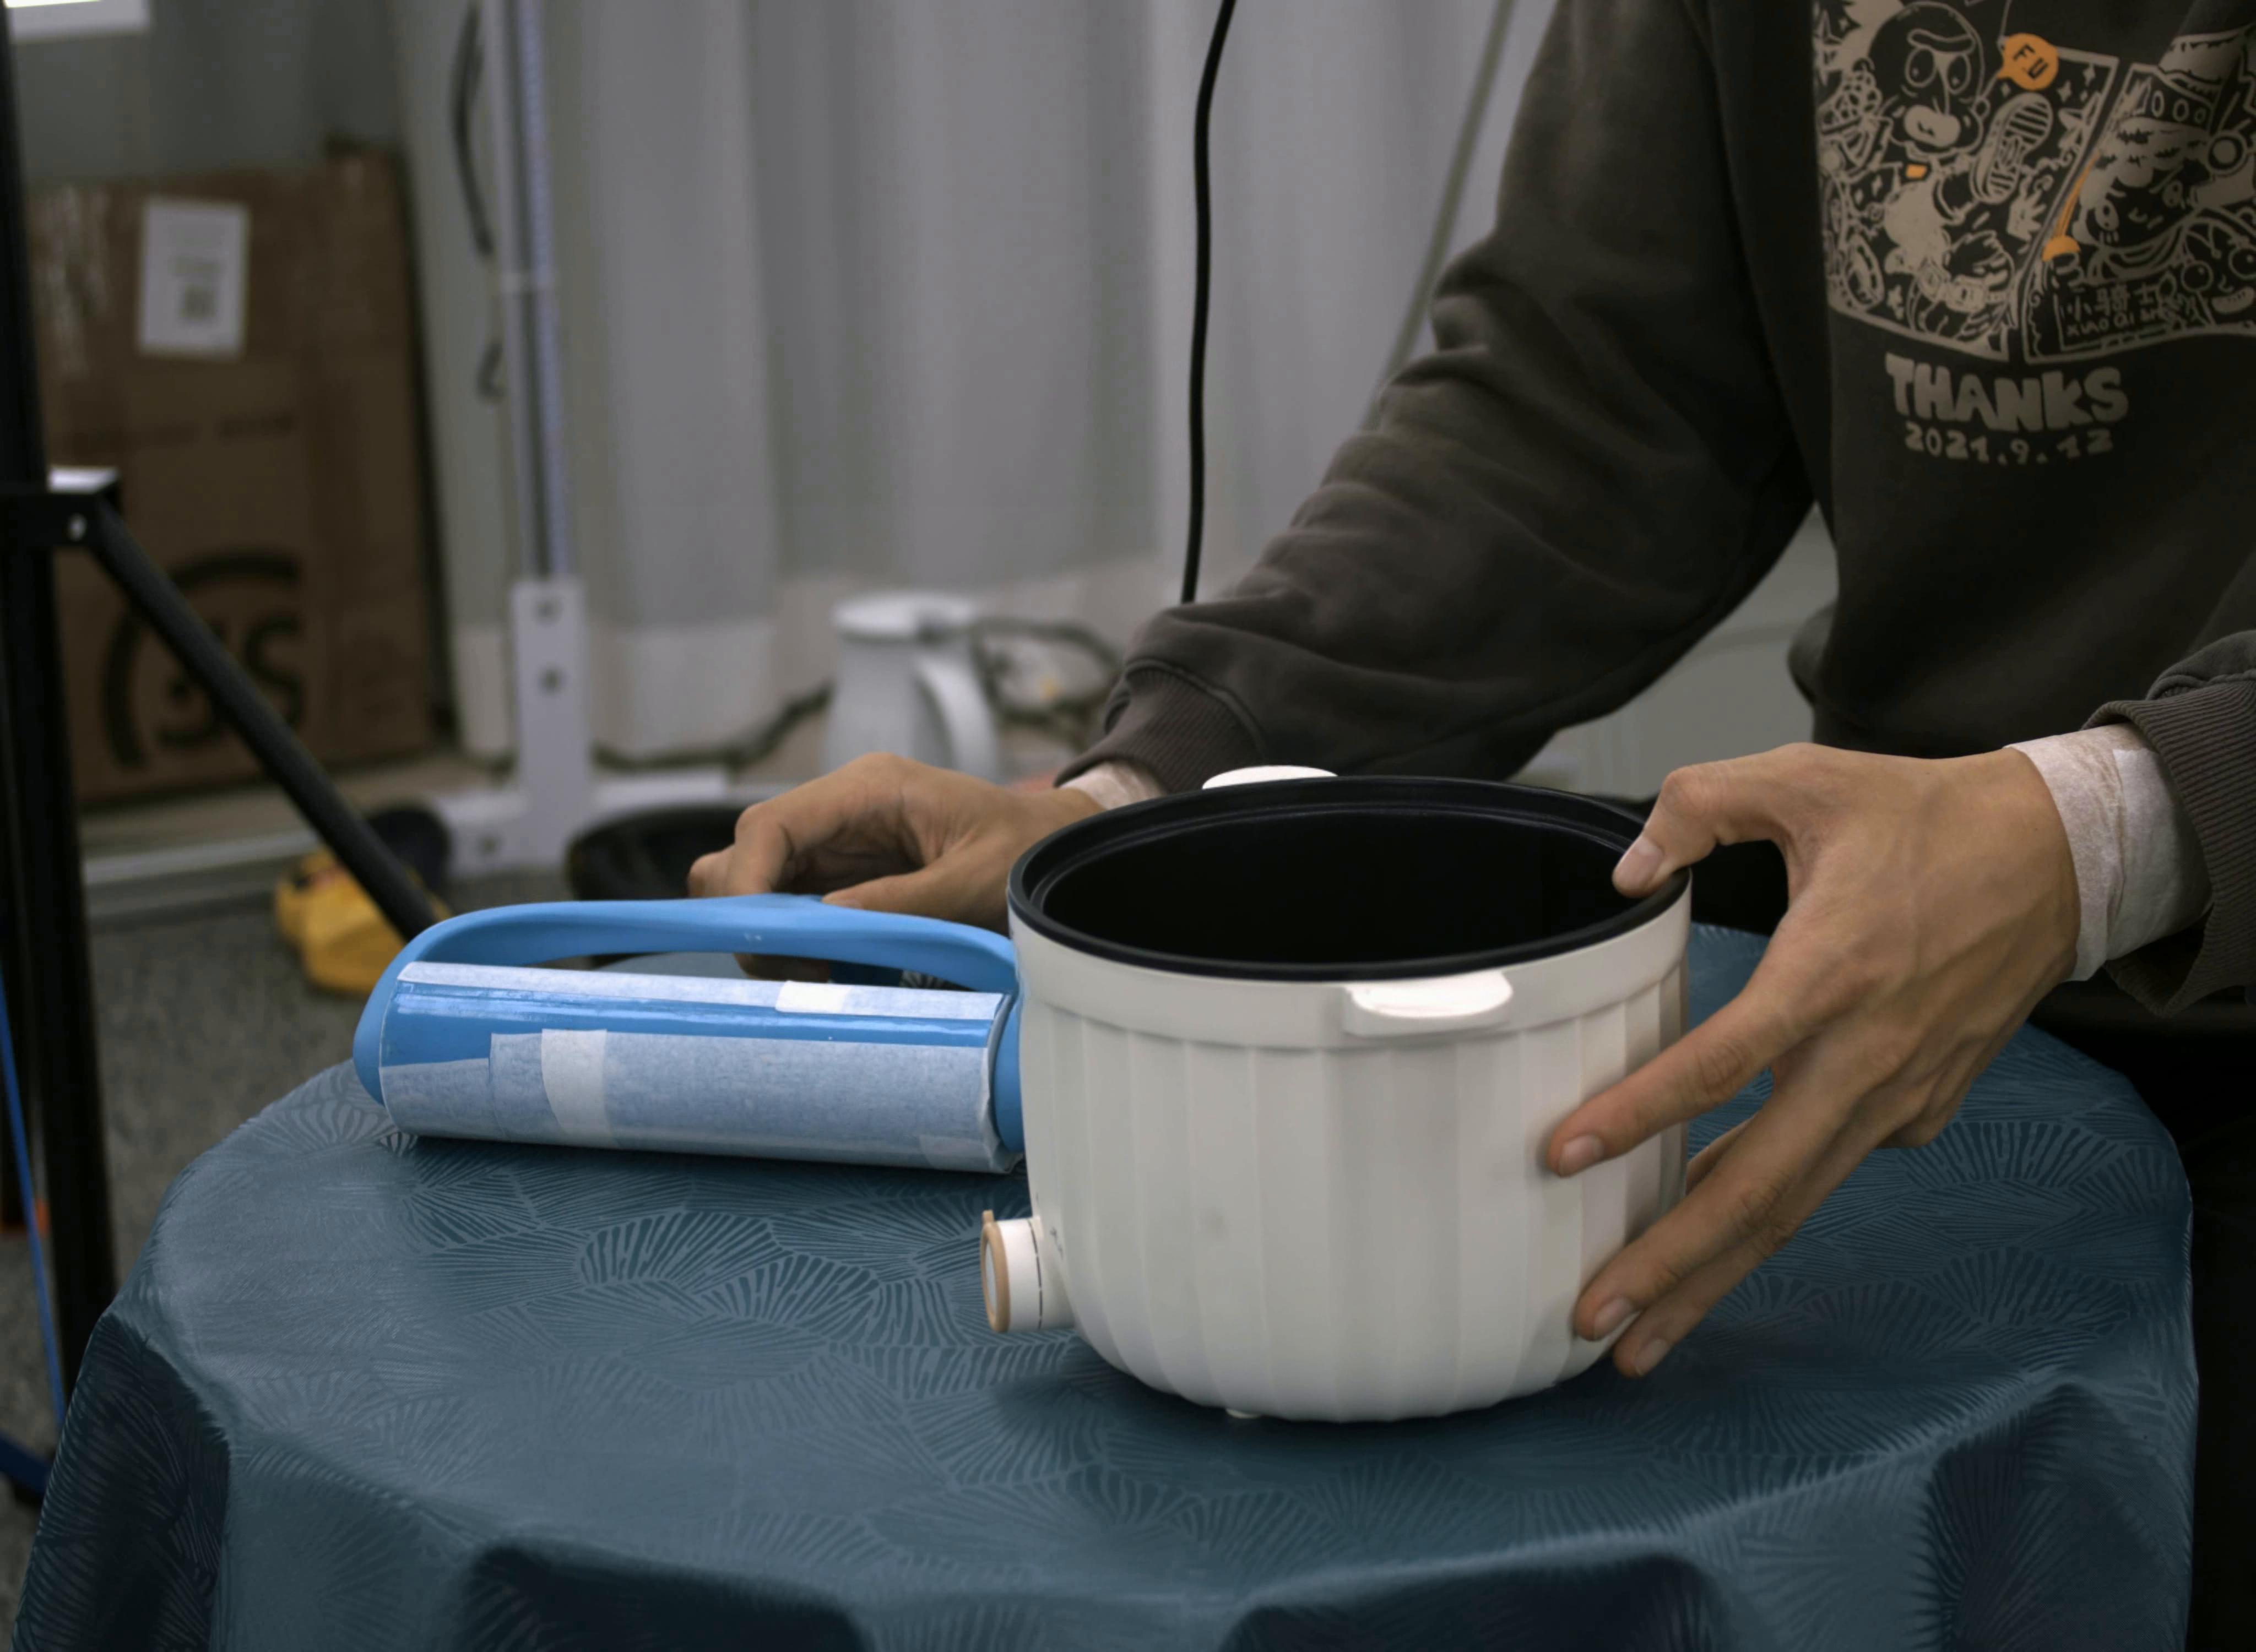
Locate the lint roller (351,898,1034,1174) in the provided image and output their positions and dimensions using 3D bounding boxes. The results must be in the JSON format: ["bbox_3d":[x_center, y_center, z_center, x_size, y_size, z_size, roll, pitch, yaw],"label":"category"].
[{"bbox_3d":[-0.114,0.053,1.666,0.231,0.068,0.179,0,18,16],"label":"lint roller"}]

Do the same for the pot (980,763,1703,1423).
[{"bbox_3d":[0.056,0.075,1.415,0.188,0.143,0.243,-2,14,-10],"label":"pot"}]
